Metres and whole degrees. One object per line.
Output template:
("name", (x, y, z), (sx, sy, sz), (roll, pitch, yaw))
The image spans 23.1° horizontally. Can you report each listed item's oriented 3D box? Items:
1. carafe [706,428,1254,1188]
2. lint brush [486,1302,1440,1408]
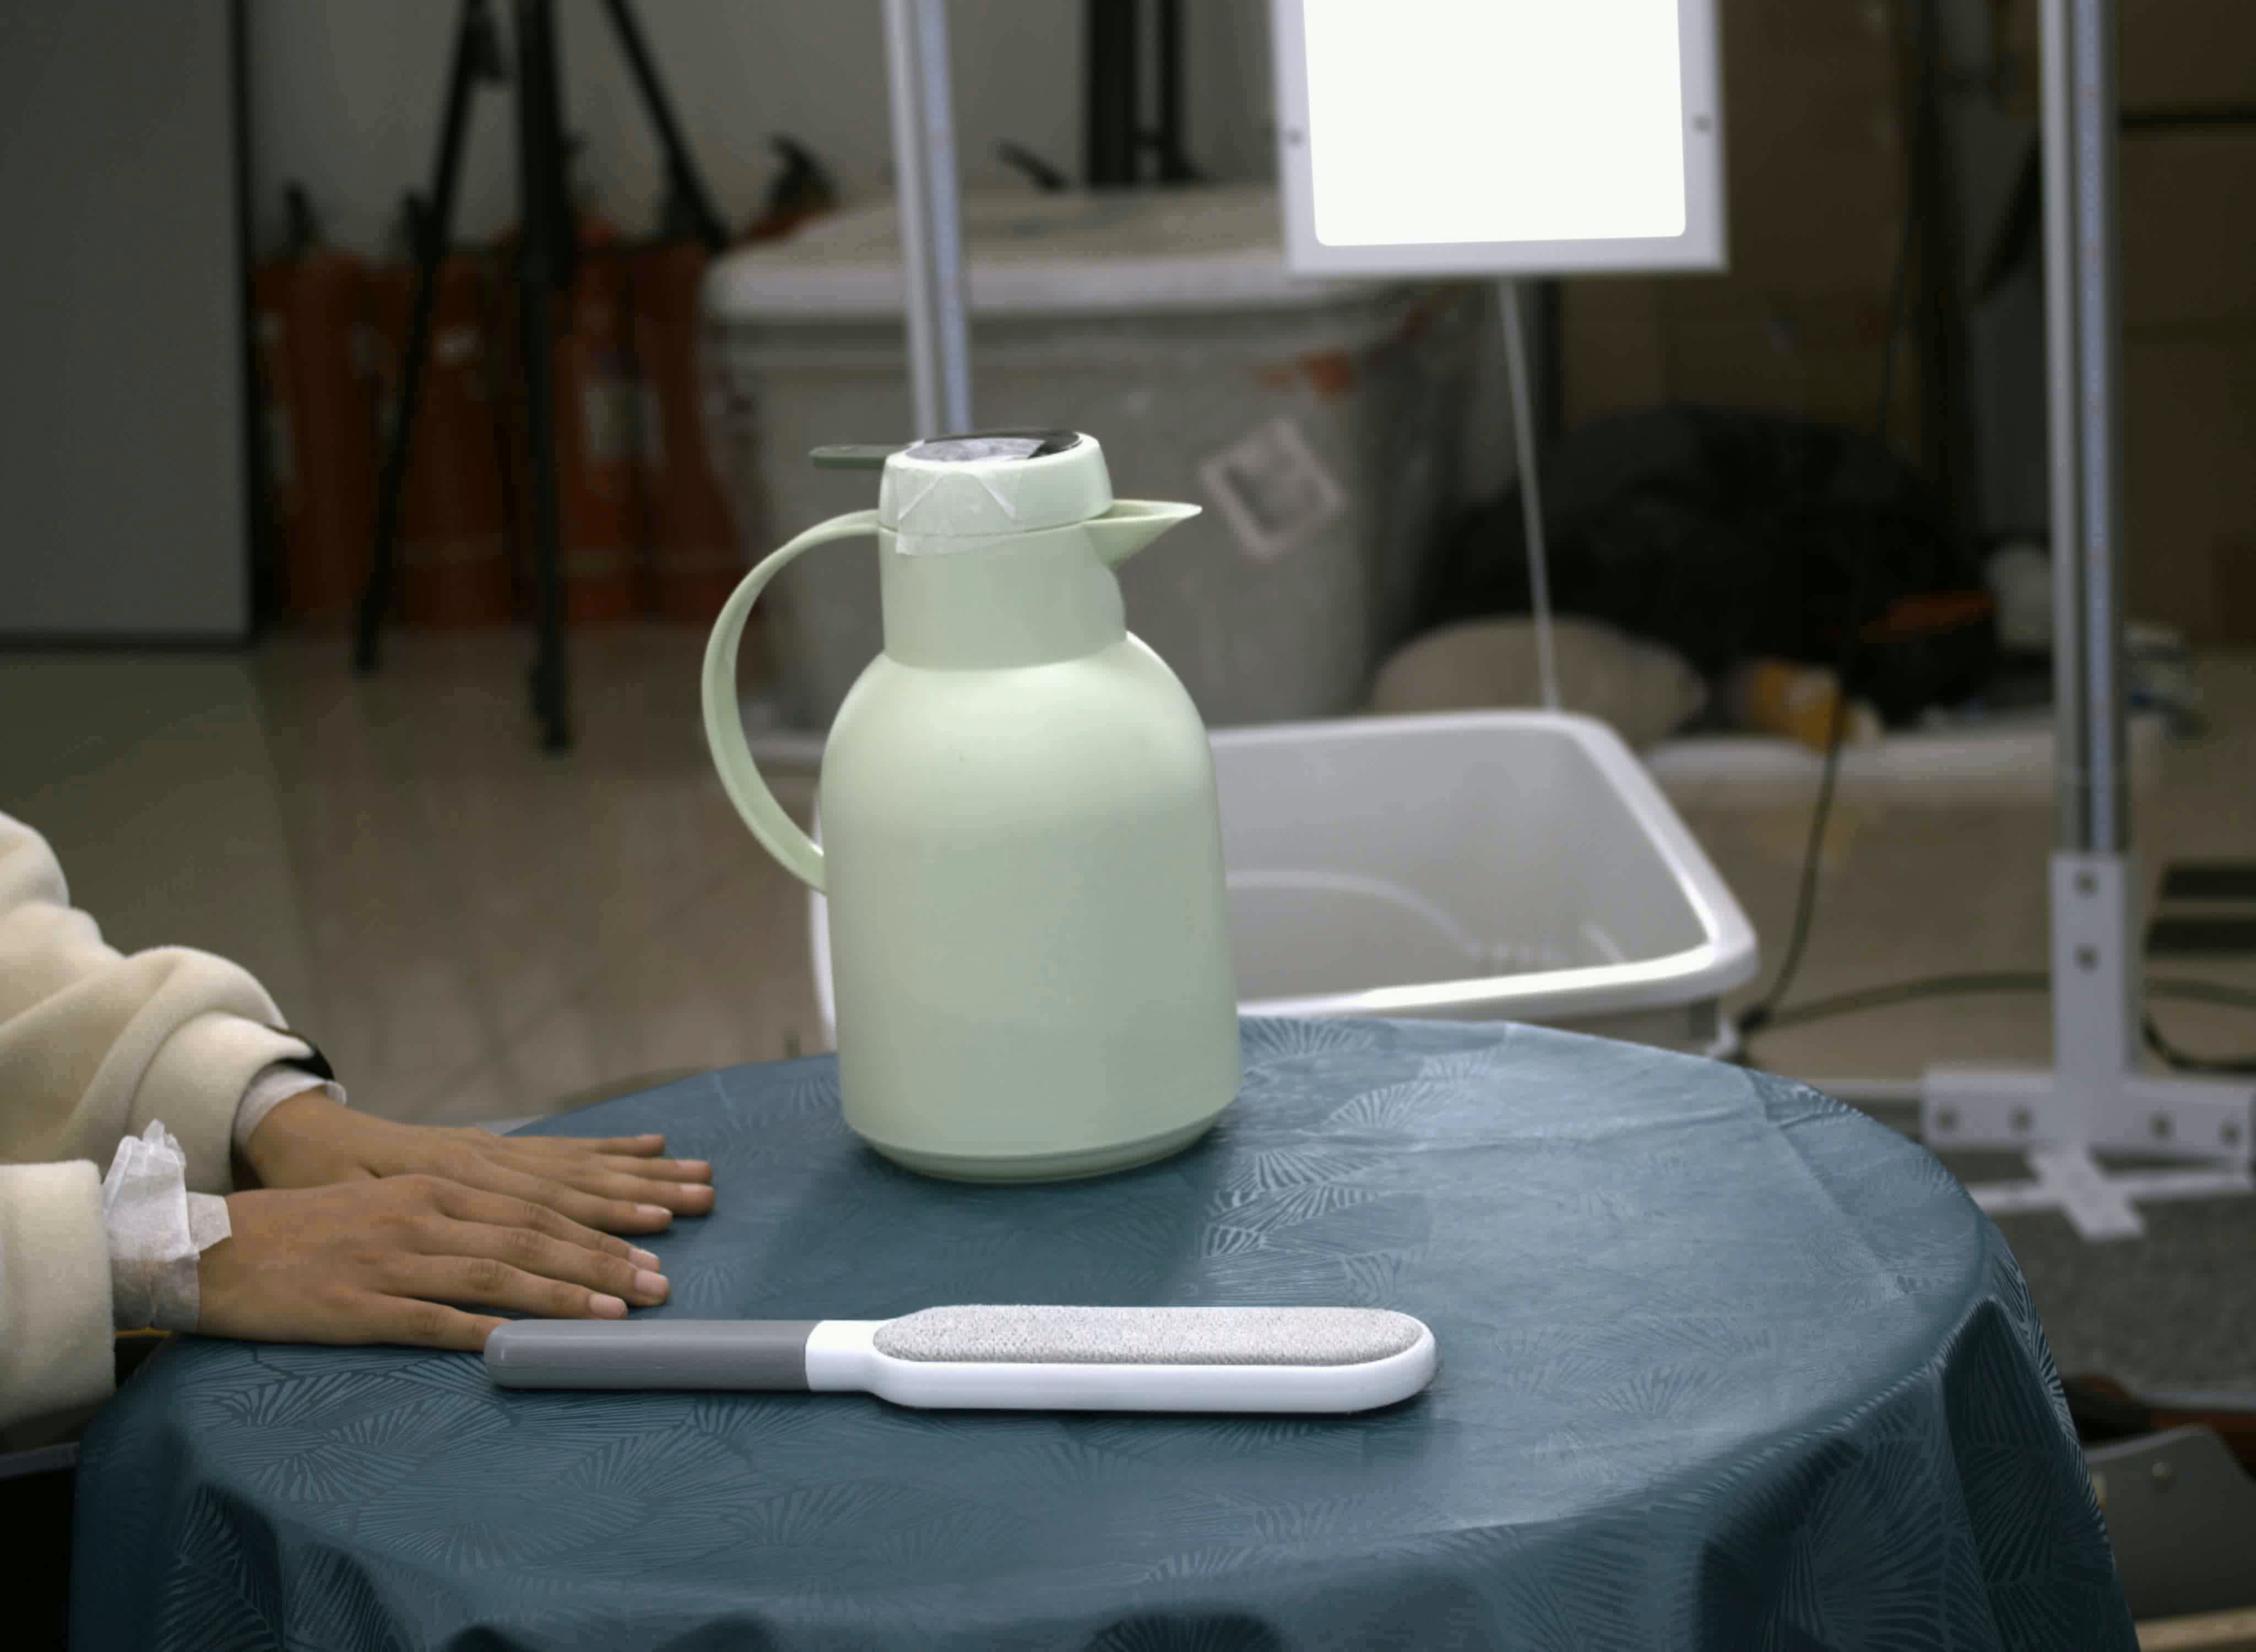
("carafe", (-0.051, -0.010, 1.951), (0.189, 0.257, 0.142), (-4, 15, 18))
("lint brush", (-0.055, 0.164, 1.717), (0.312, 0.021, 0.059), (-1, 16, 18))
